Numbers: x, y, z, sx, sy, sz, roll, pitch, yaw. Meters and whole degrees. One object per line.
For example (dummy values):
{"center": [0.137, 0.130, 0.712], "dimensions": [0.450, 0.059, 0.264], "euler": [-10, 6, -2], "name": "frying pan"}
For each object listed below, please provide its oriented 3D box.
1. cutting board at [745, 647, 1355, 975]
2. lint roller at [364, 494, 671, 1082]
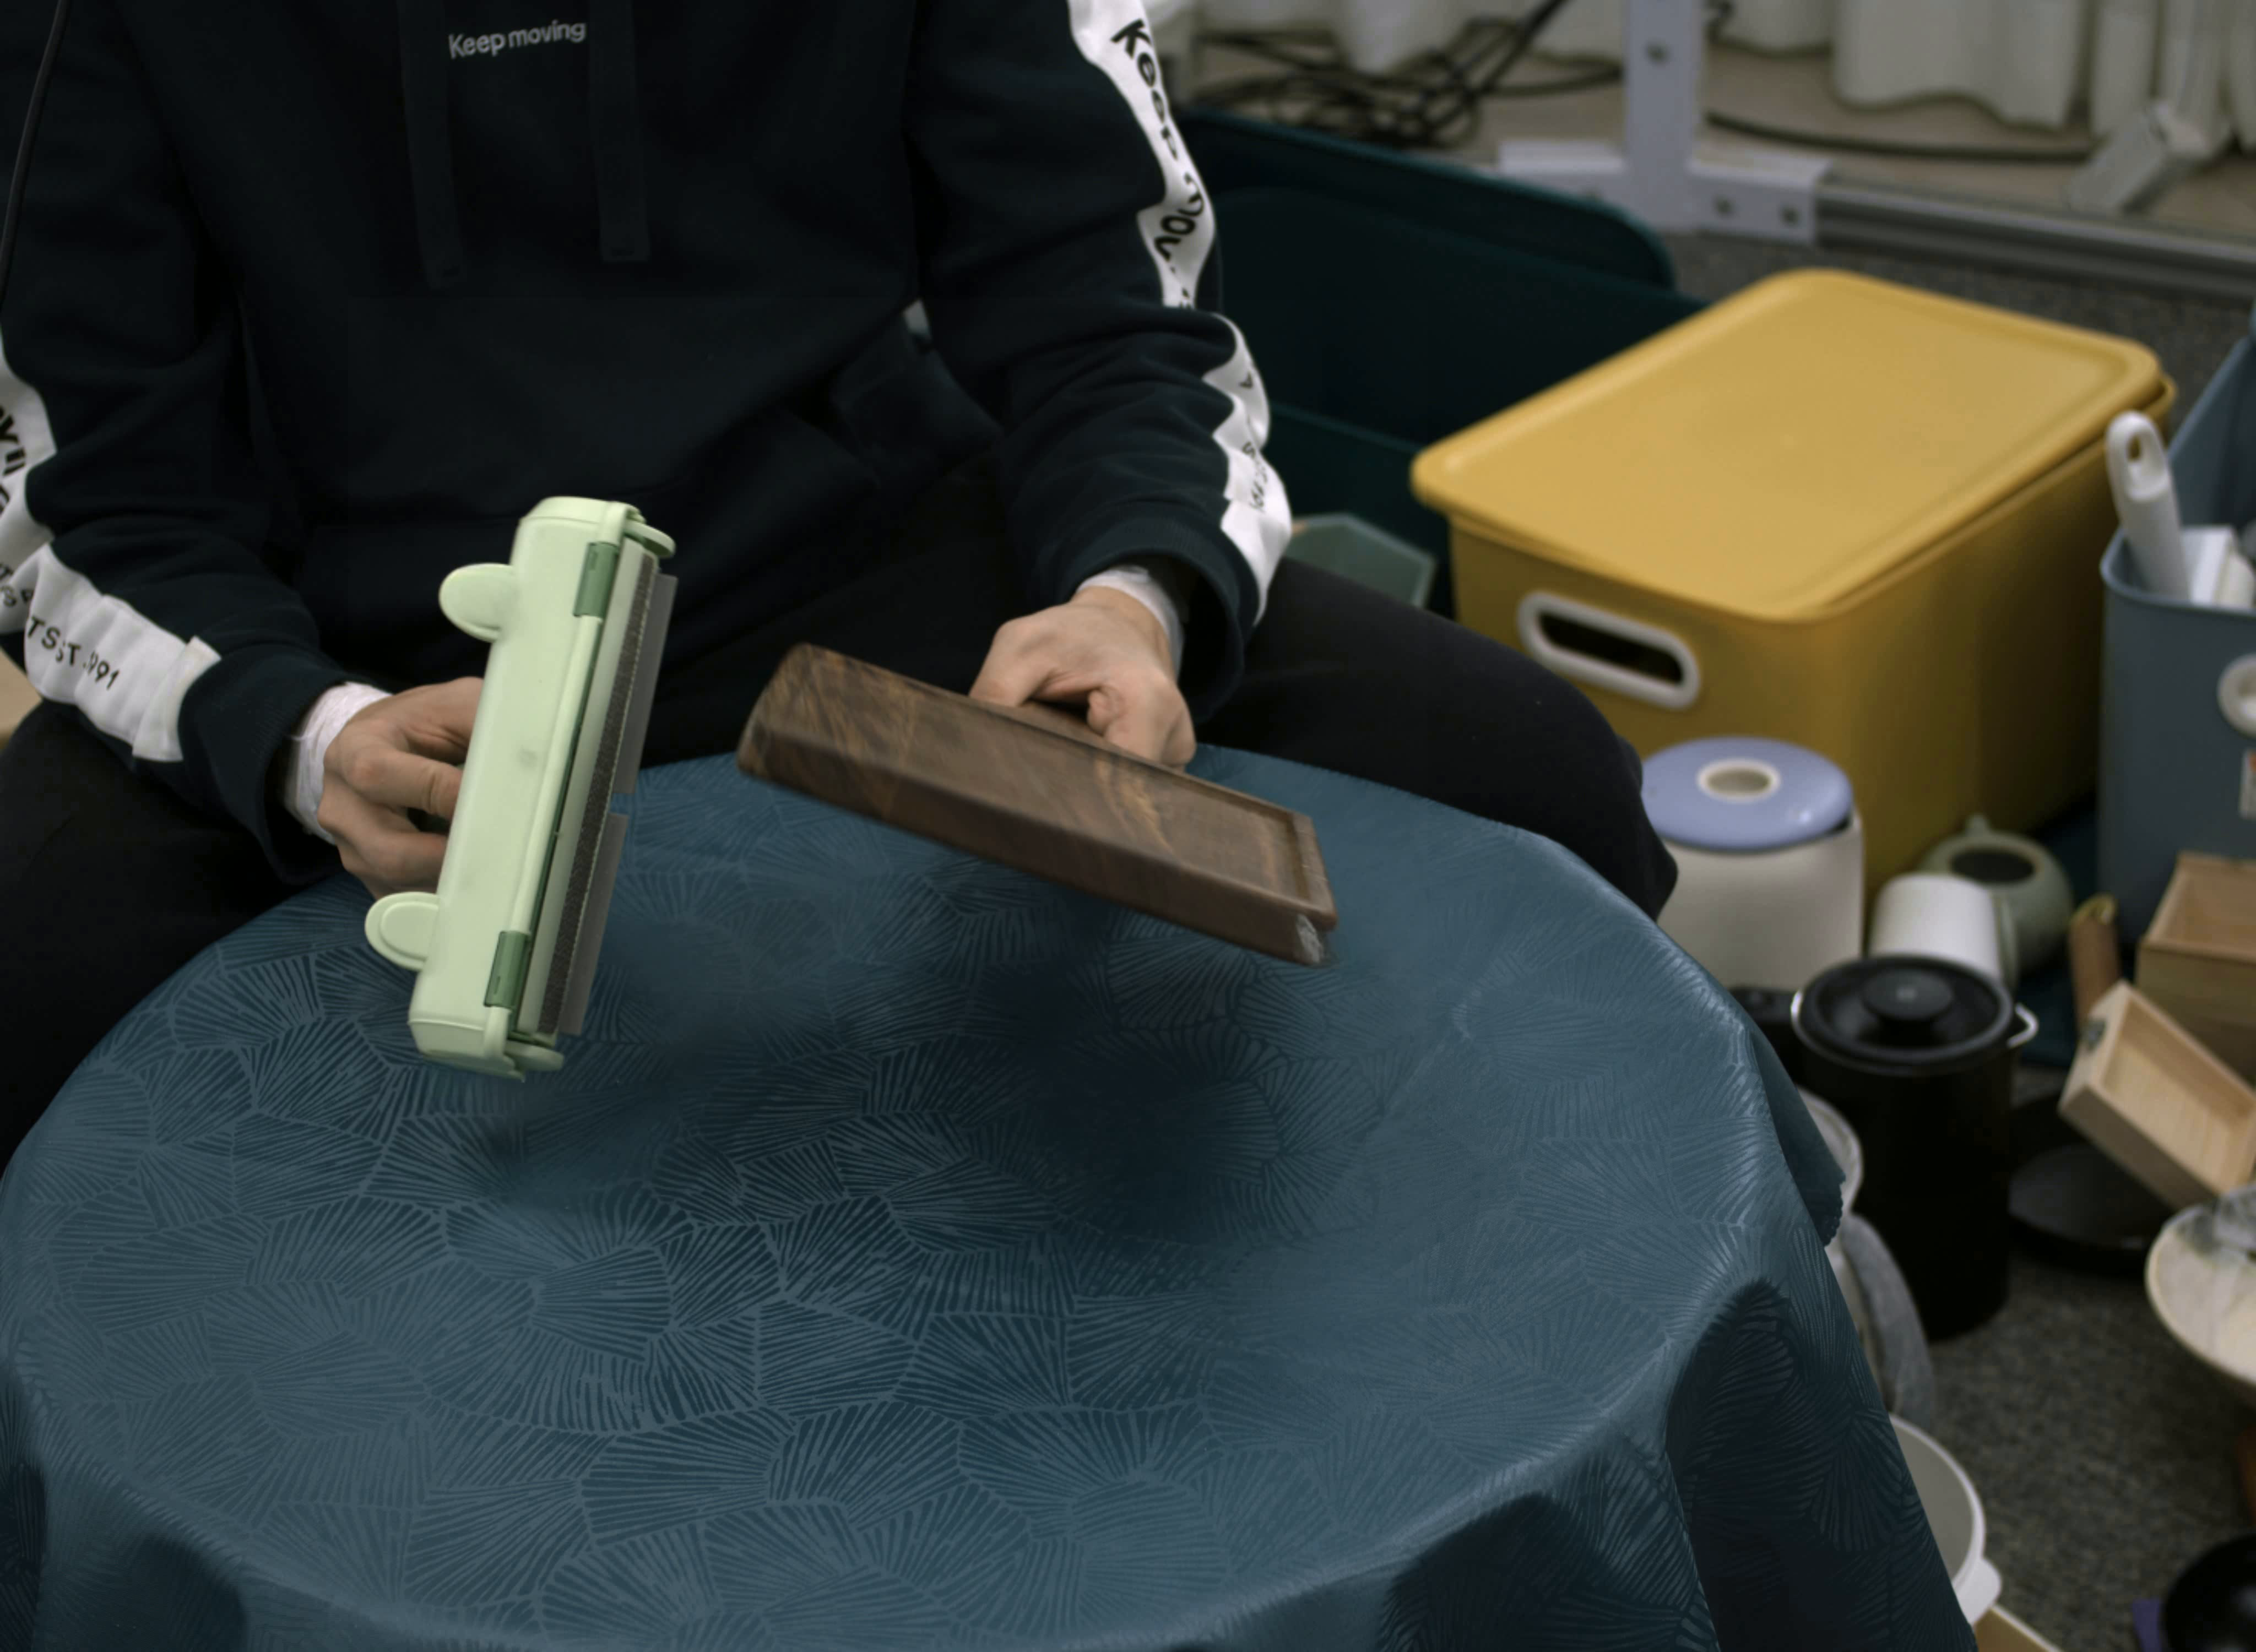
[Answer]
{"center": [-0.028, -0.014, 1.914], "dimensions": [0.200, 0.023, 0.353], "euler": [18, 7, -3], "name": "cutting board"}
{"center": [-0.232, -0.012, 1.948], "dimensions": [0.082, 0.201, 0.181], "euler": [18, -13, -29], "name": "lint roller"}
